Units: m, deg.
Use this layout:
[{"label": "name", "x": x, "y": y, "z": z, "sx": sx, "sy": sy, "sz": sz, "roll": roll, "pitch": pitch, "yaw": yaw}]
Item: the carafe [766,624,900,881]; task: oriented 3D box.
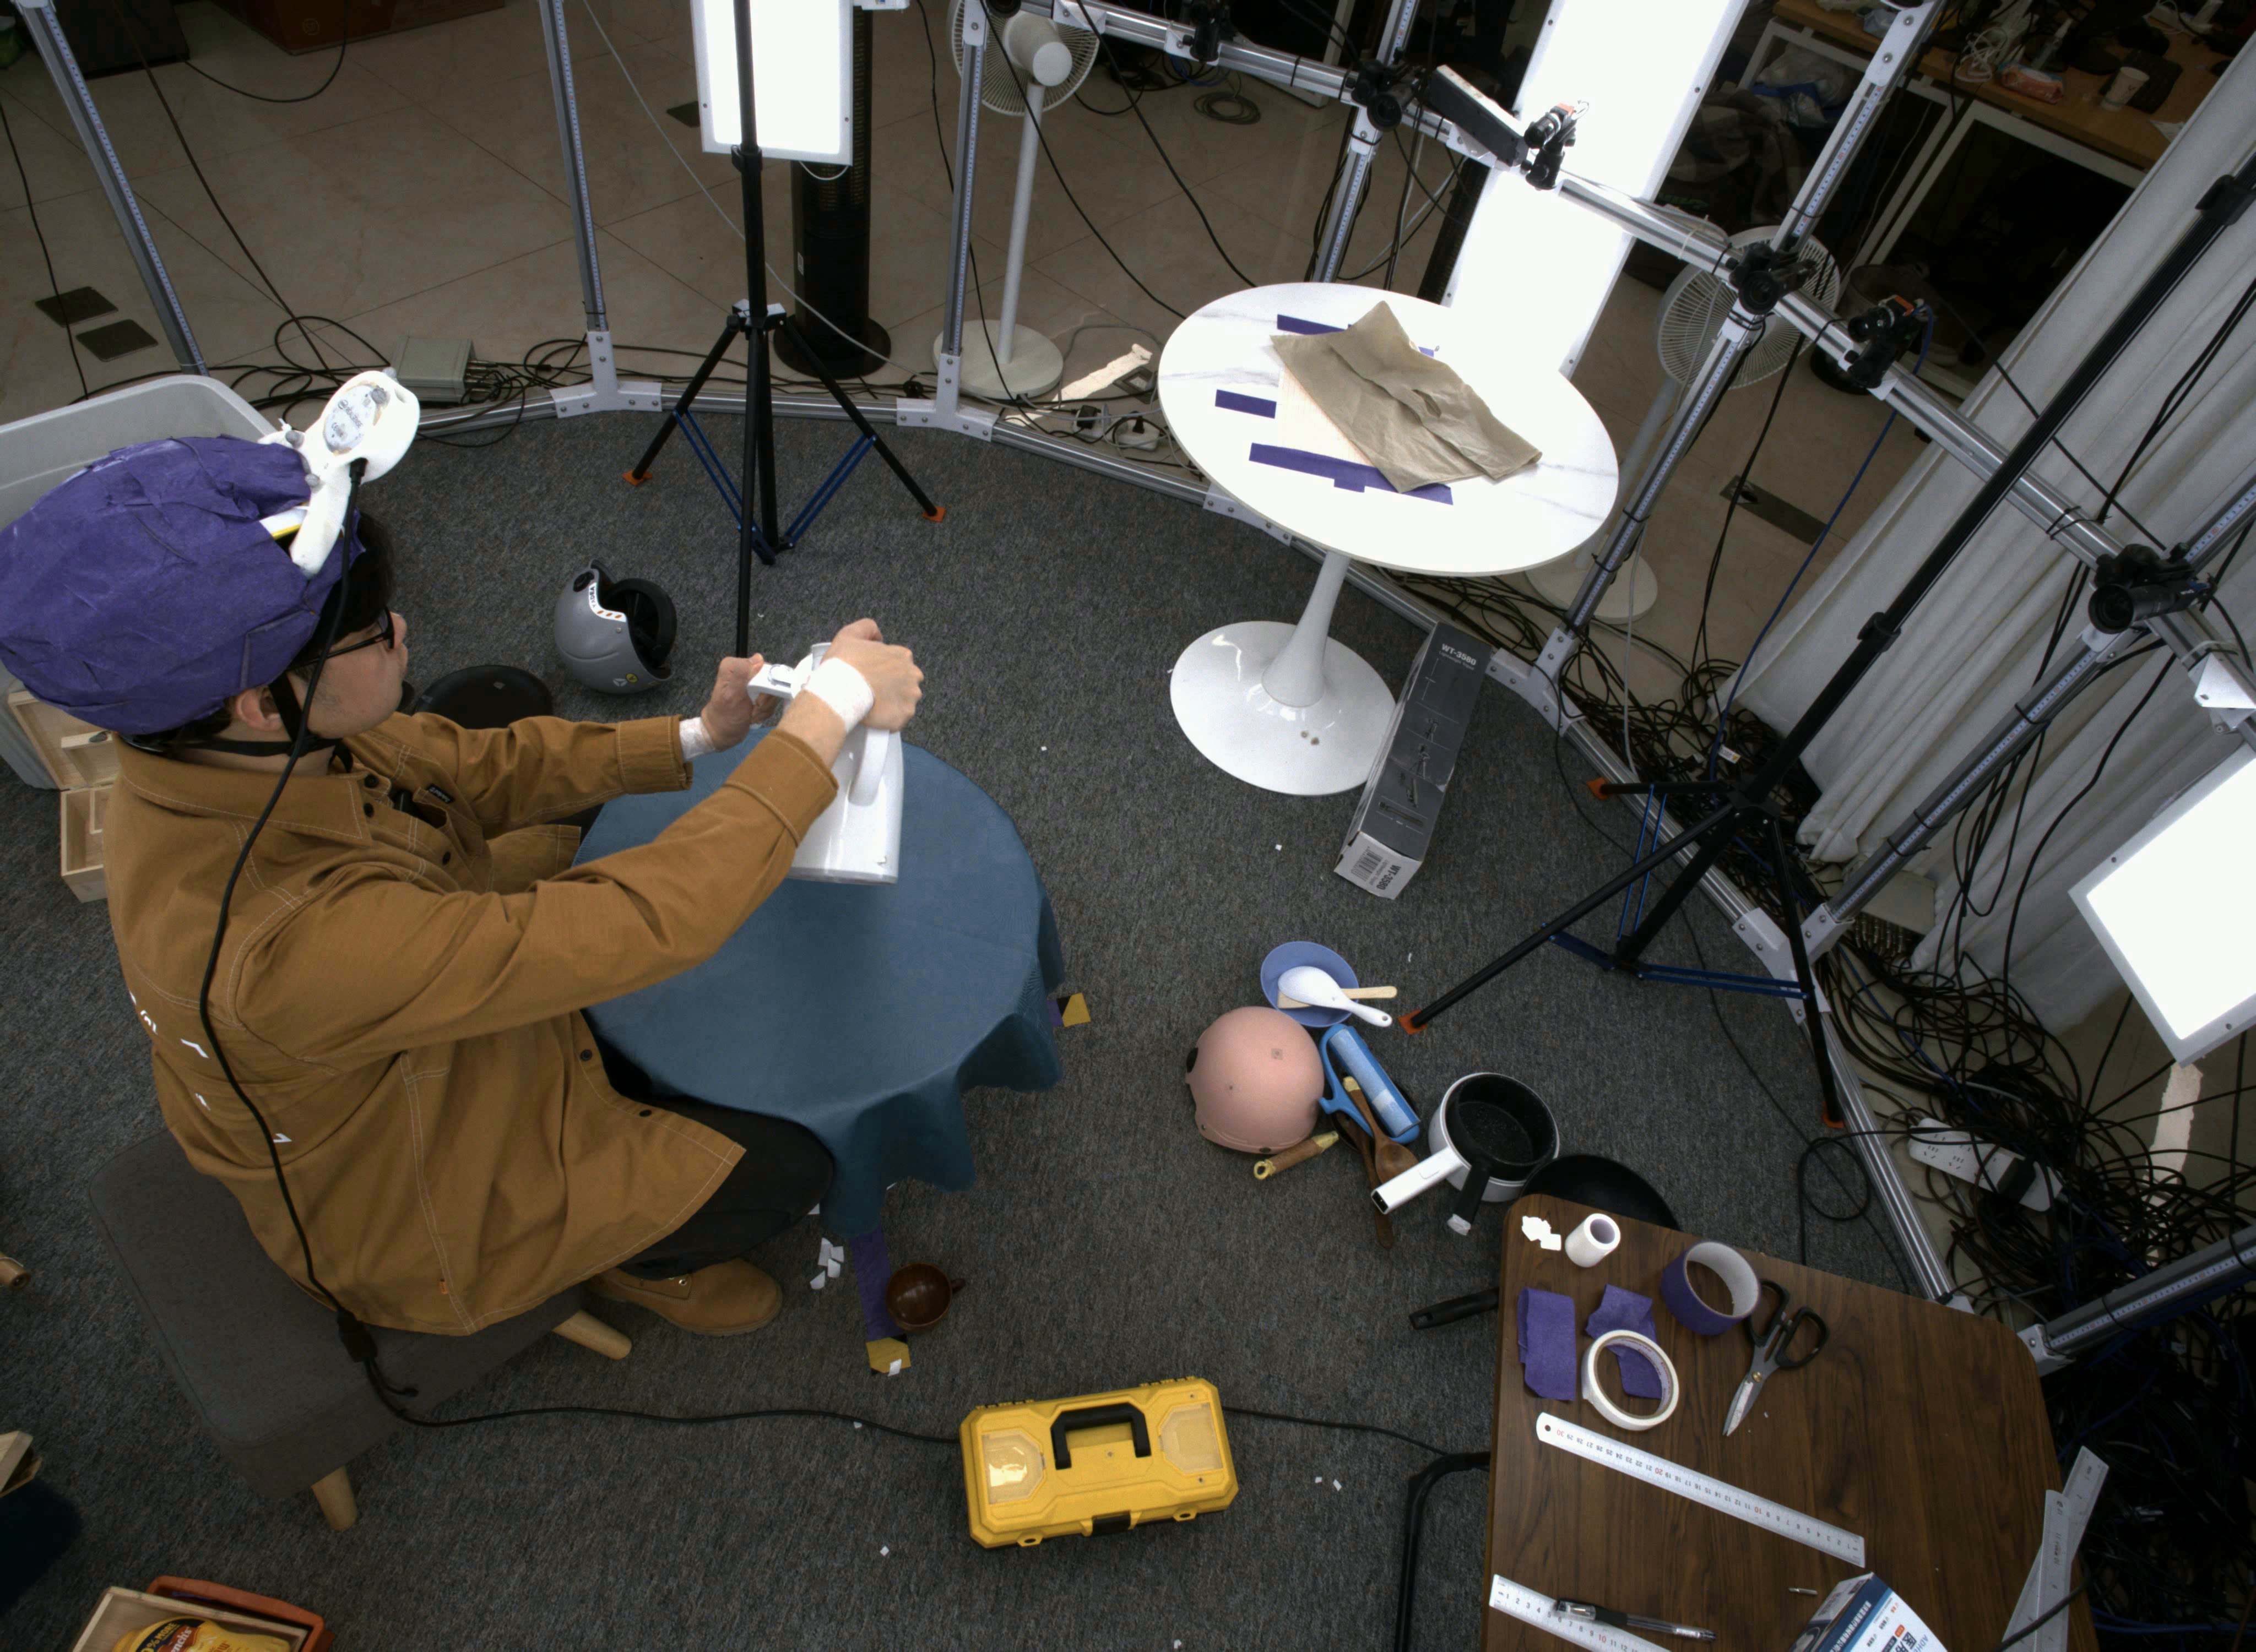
[{"label": "carafe", "x": -0.288, "y": -0.075, "z": 1.326, "sx": 0.135, "sy": 0.163, "sz": 0.251, "roll": 6, "pitch": 86, "yaw": -32}]

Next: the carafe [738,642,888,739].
[{"label": "carafe", "x": -0.383, "y": -0.116, "z": 1.575, "sx": 0.173, "sy": 0.270, "sz": 0.123, "roll": 12, "pitch": 66, "yaw": -9}]
